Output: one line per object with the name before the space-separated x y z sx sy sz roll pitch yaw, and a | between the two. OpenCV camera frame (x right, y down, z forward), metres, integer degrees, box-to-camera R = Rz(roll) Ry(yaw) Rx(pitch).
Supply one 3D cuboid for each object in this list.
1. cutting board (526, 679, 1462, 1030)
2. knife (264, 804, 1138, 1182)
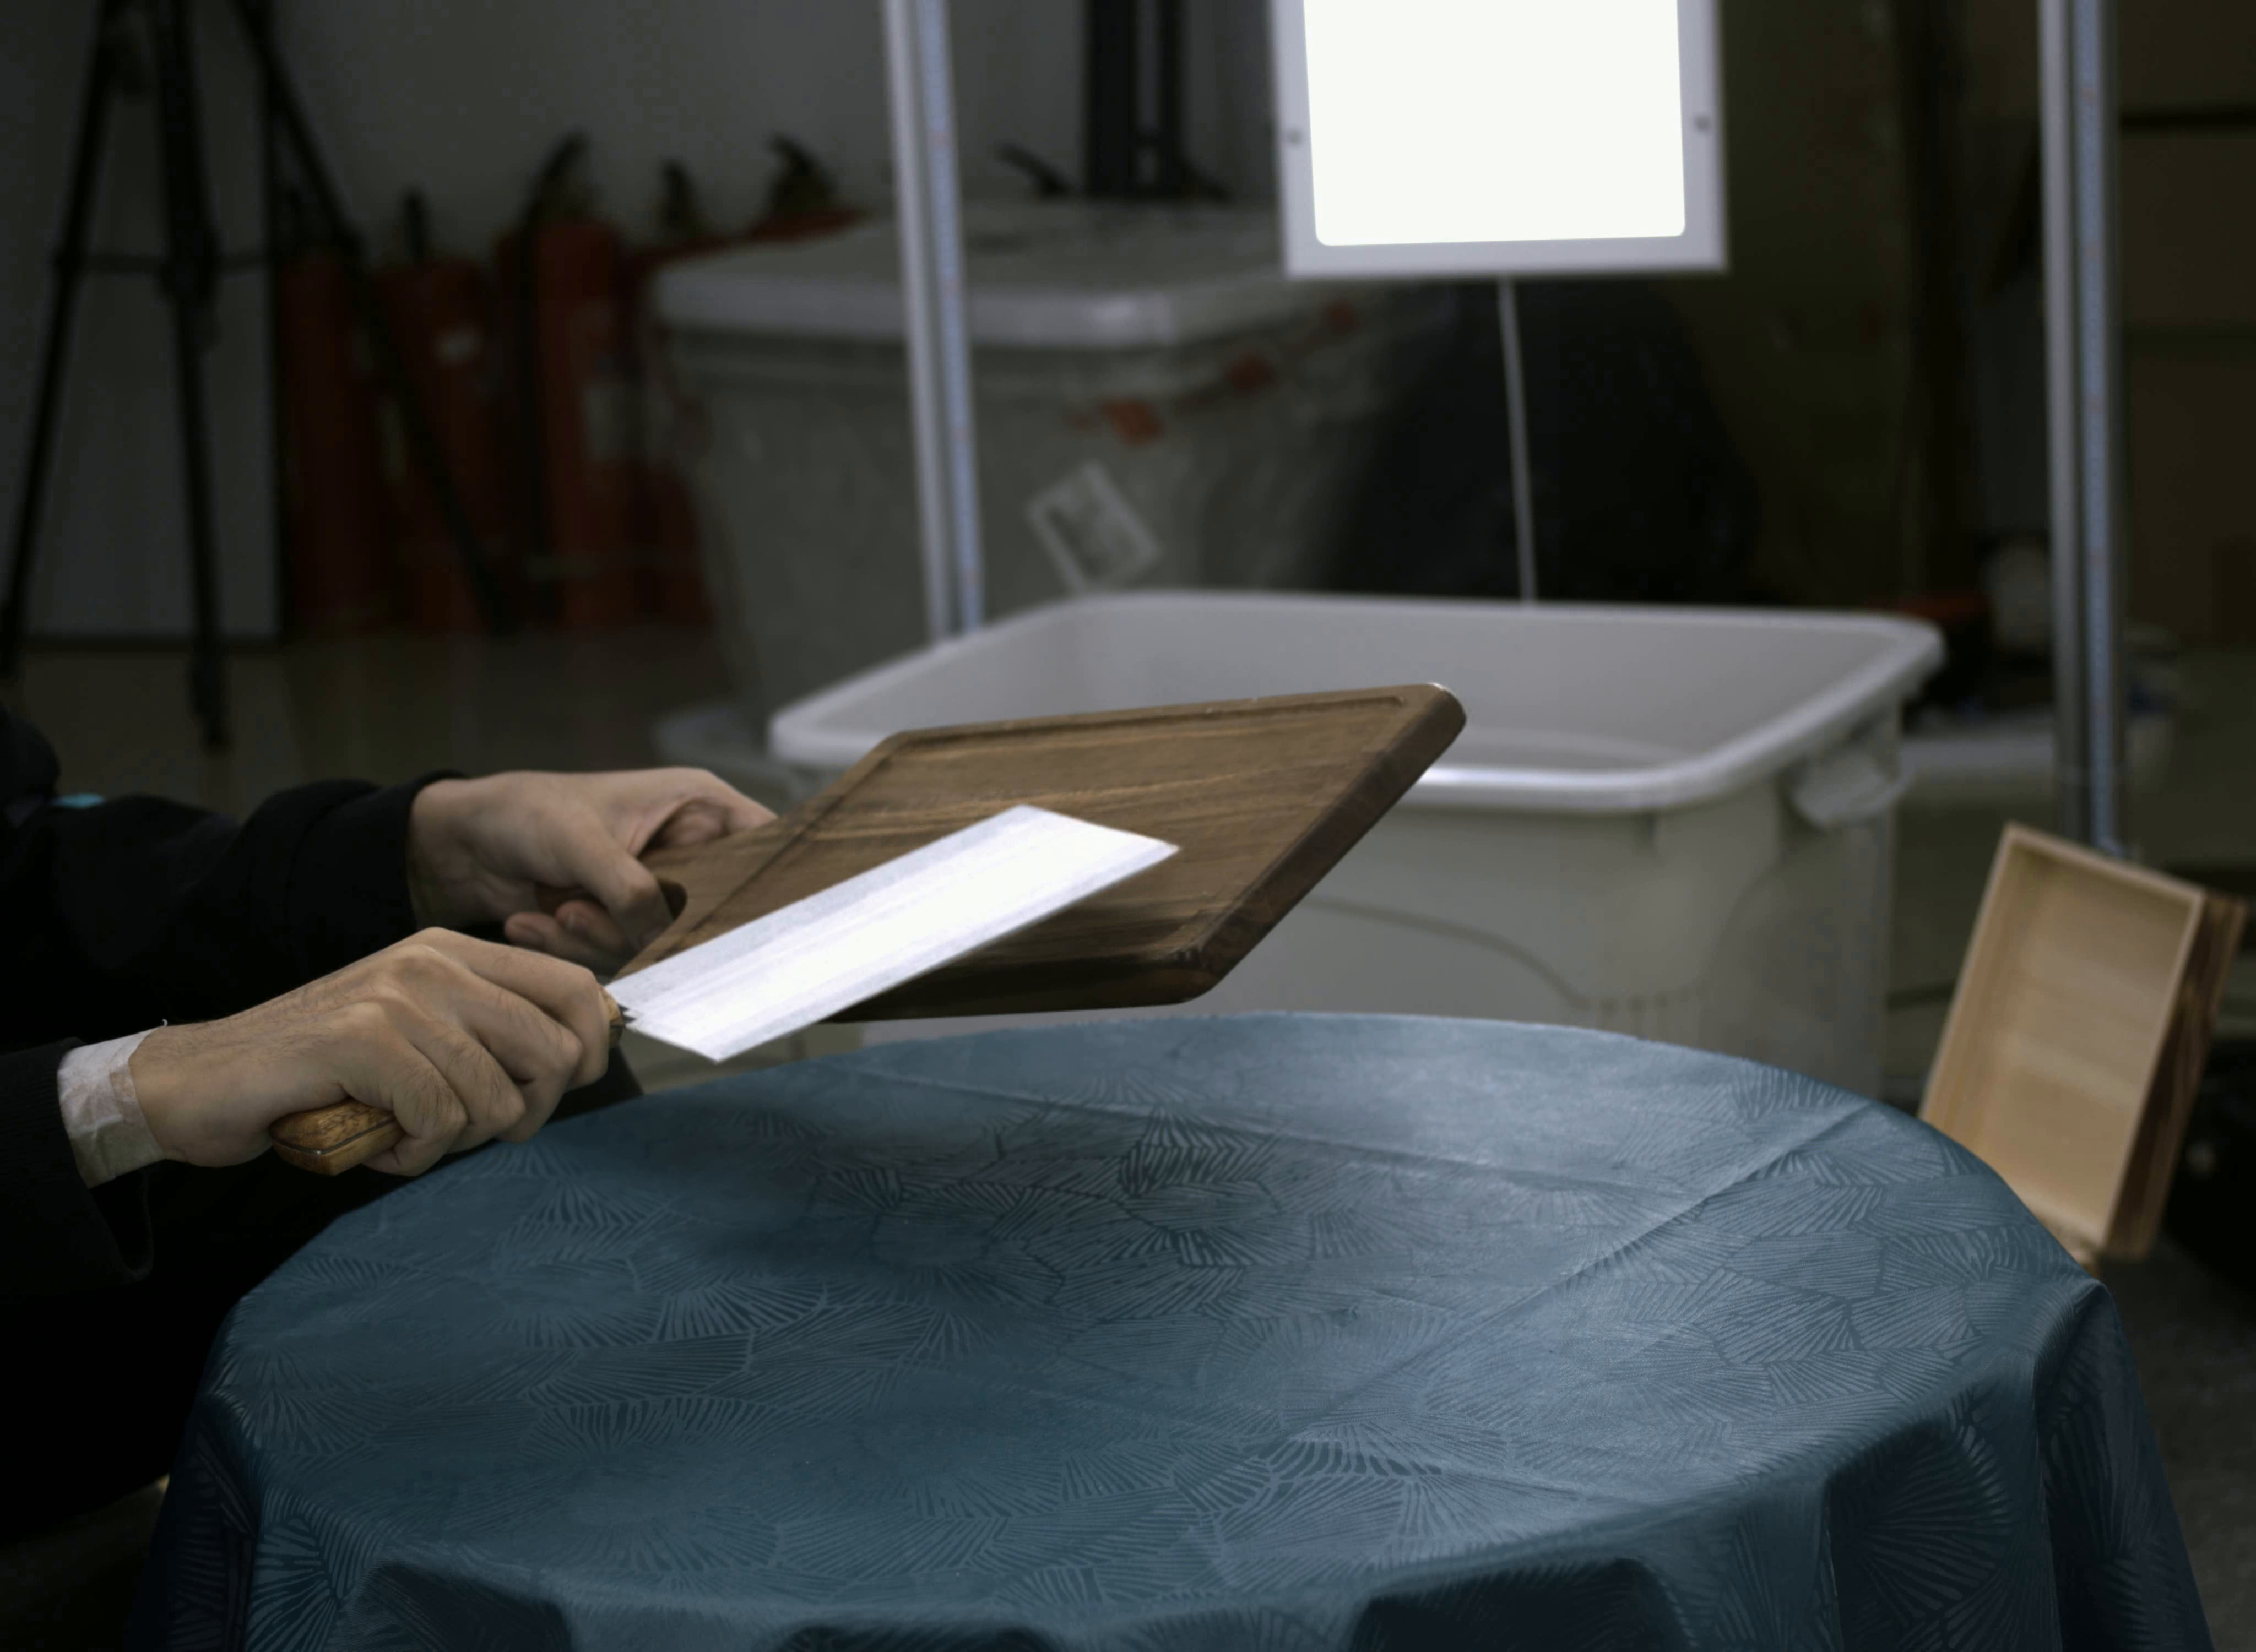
cutting board | -0.071 0.014 1.927 0.360 0.023 0.197 -5 25 37
knife | -0.125 0.051 1.739 0.299 0.021 0.095 -24 23 -31
